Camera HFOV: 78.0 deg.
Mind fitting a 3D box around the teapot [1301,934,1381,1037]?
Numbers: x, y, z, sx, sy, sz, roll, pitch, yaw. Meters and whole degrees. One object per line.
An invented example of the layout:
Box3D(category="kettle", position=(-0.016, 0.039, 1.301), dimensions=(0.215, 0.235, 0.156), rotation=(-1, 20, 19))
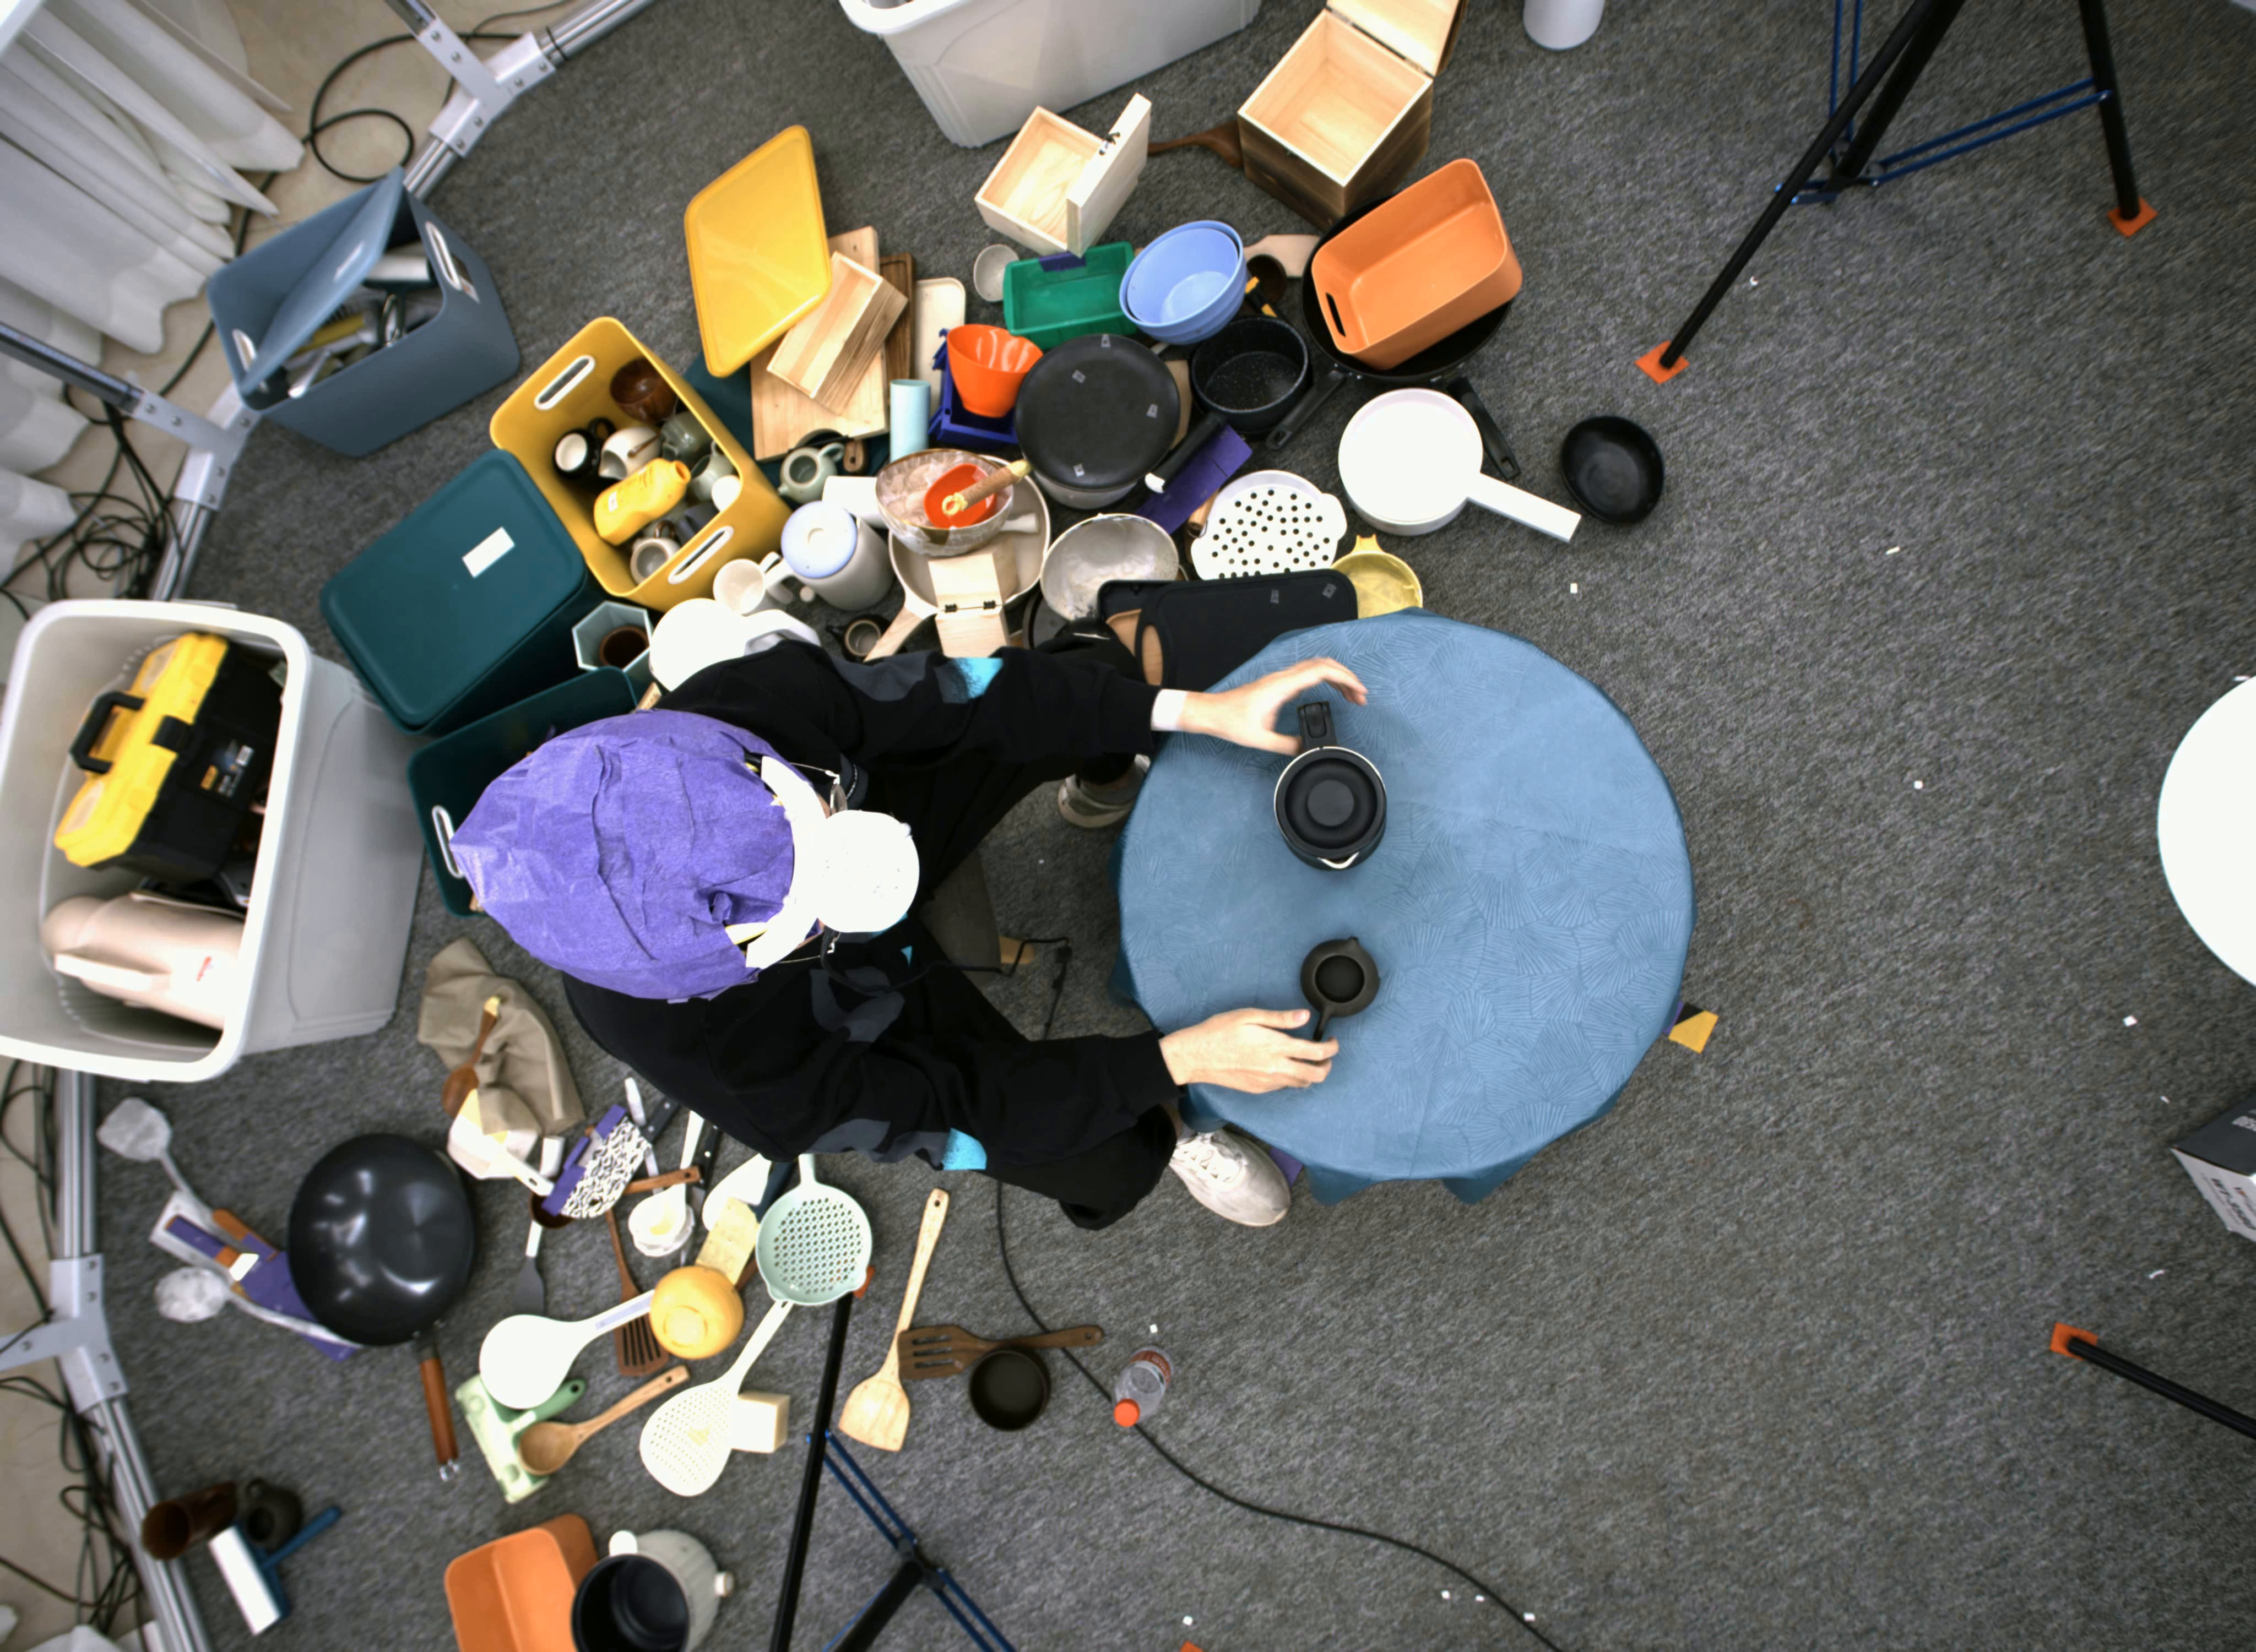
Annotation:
Box3D(category="teapot", position=(0.215, 0.165, 1.435), dimensions=(0.083, 0.053, 0.114), rotation=(26, 88, 12))

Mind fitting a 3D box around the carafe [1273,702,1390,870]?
Box3D(category="carafe", position=(0.200, -0.039, 1.387), dimensions=(0.115, 0.173, 0.171), rotation=(-11, 86, 10))
